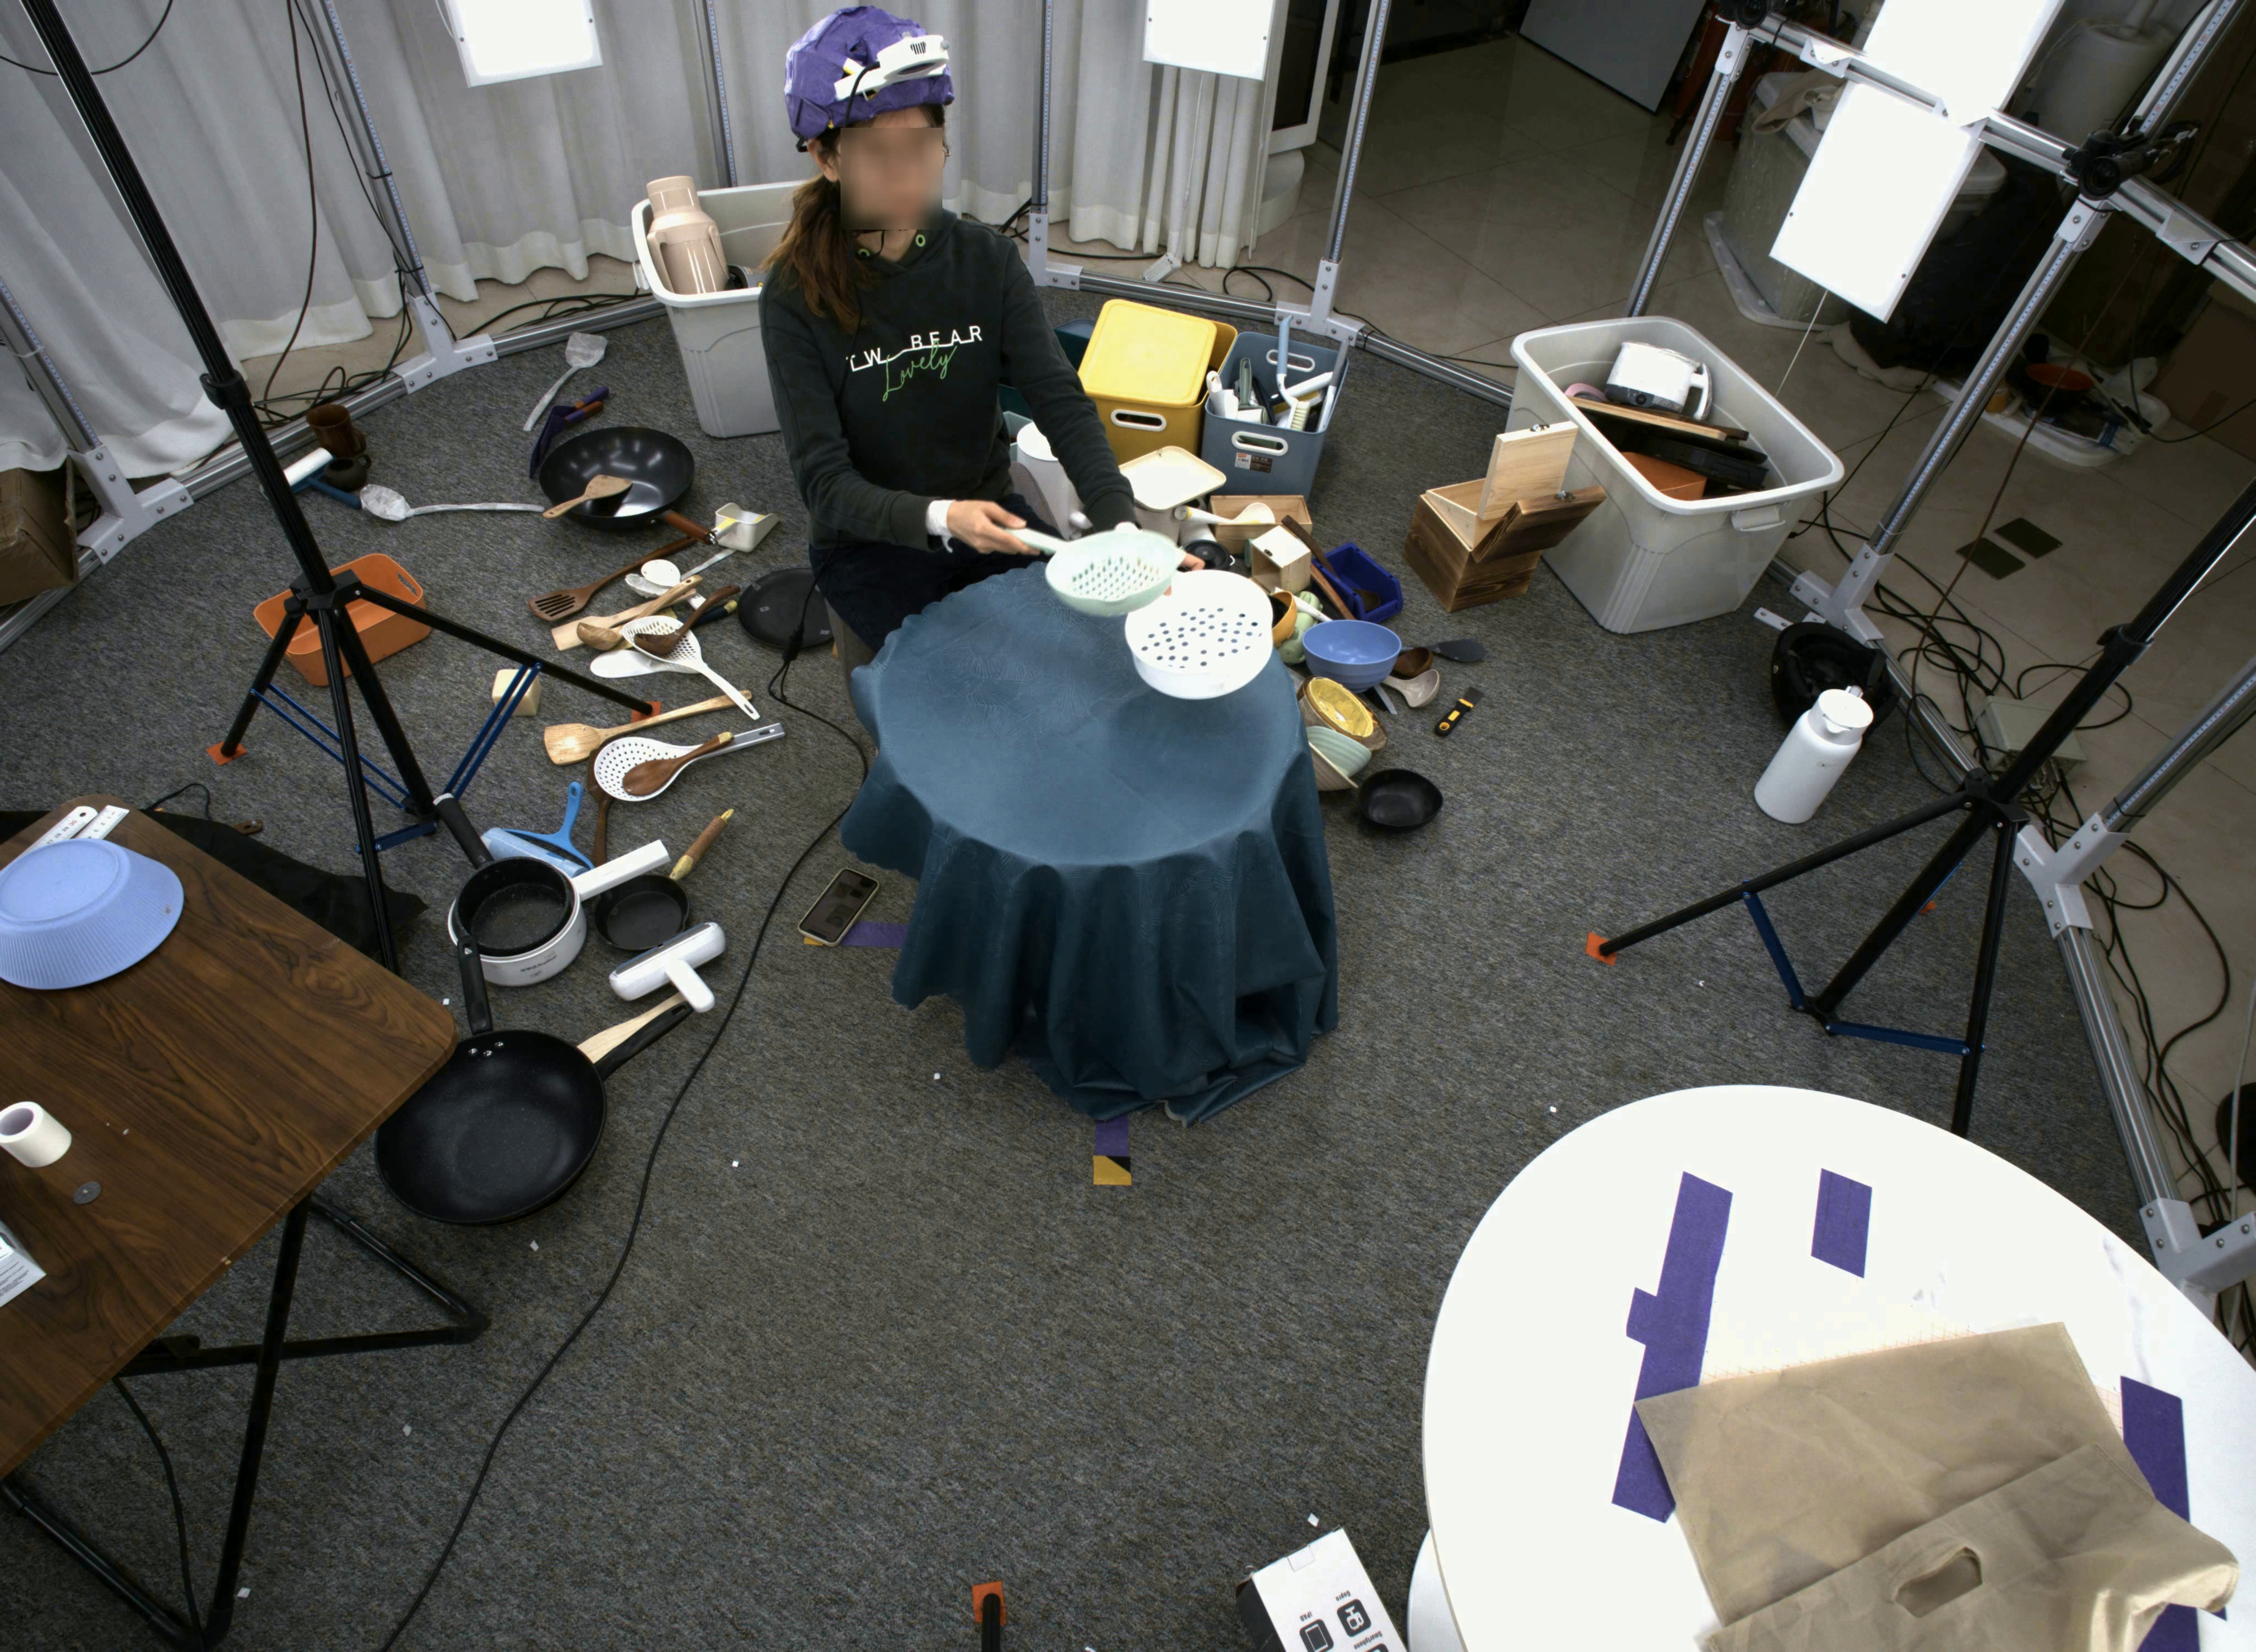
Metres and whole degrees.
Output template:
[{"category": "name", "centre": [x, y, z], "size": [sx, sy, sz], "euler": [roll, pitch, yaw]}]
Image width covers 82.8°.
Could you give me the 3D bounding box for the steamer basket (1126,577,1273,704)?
[{"category": "steamer basket", "centre": [0.101, -0.254, 1.766], "size": [0.202, 0.067, 0.235], "euler": [-28, 49, -13]}]

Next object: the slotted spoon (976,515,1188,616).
[{"category": "slotted spoon", "centre": [-0.083, -0.365, 1.710], "size": [0.364, 0.073, 0.171], "euler": [33, 55, 31]}]
